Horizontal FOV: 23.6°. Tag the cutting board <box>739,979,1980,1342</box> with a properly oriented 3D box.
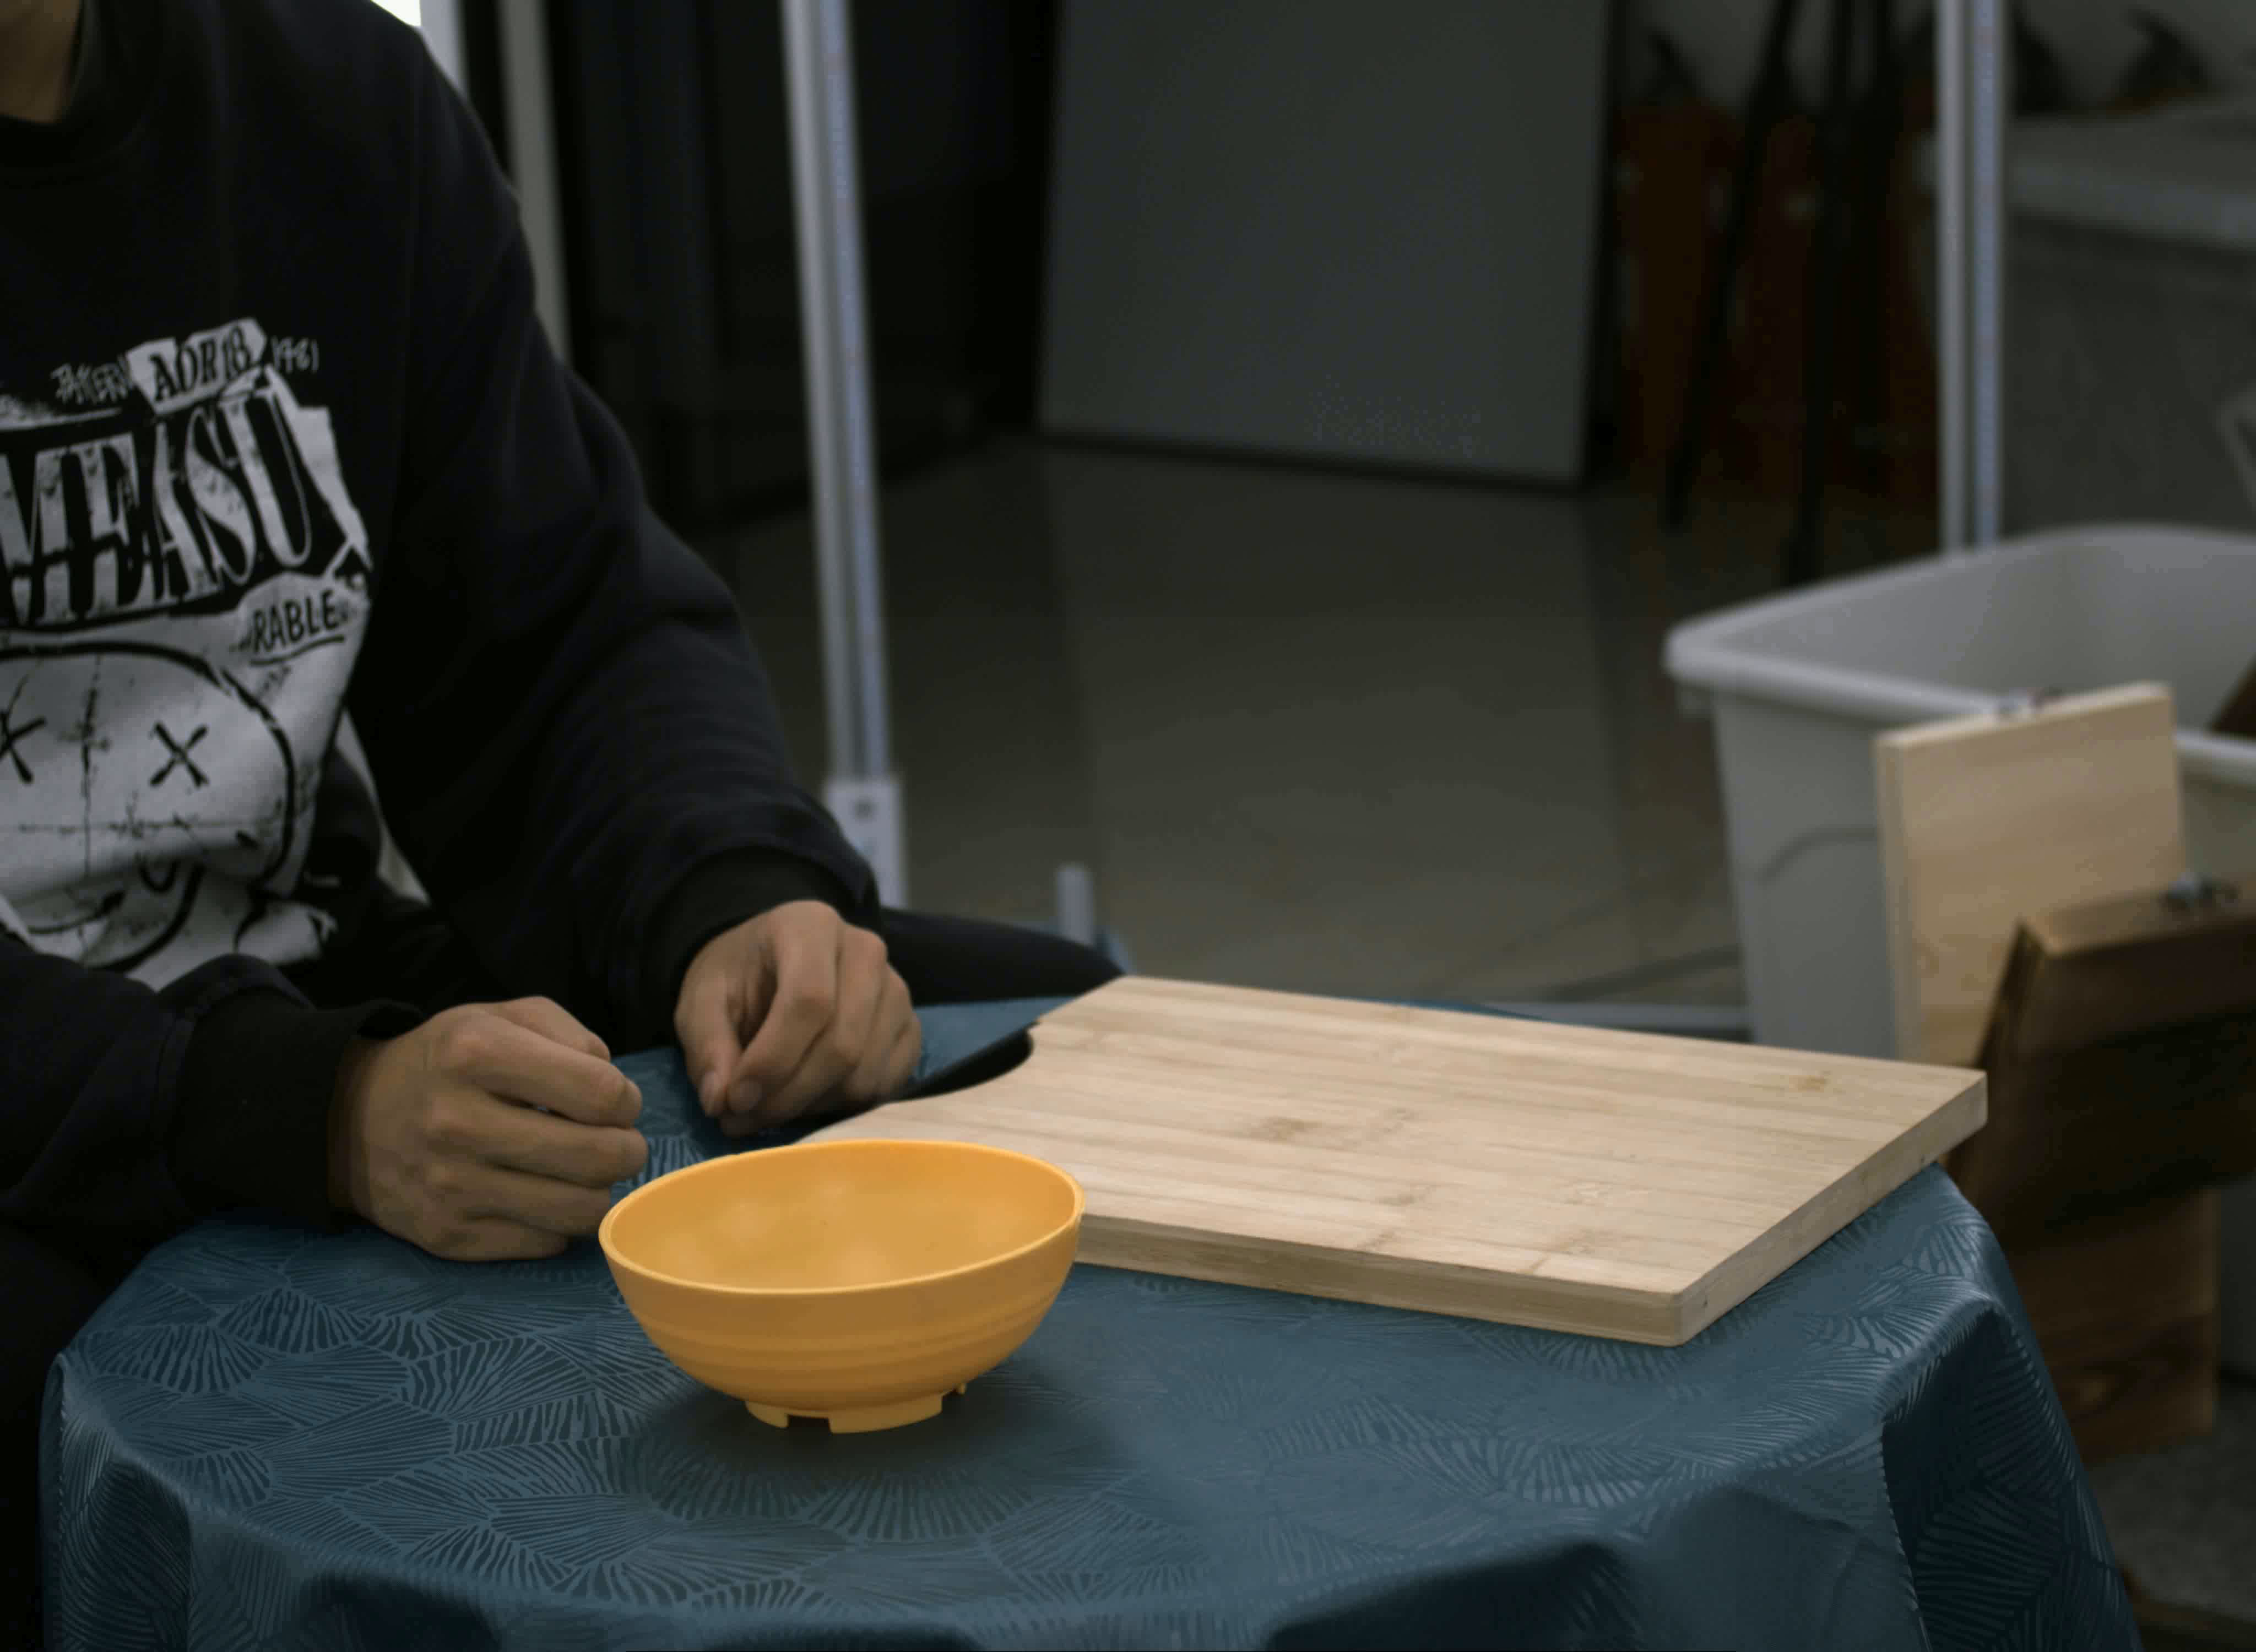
[{"bbox_3d":[0.077,0.105,1.779,0.350,0.024,0.247,4,16,31],"label":"cutting board"}]

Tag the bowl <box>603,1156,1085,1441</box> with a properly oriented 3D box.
[{"bbox_3d":[-0.082,0.143,1.590,0.143,0.061,0.145,-4,11,0],"label":"bowl"}]
